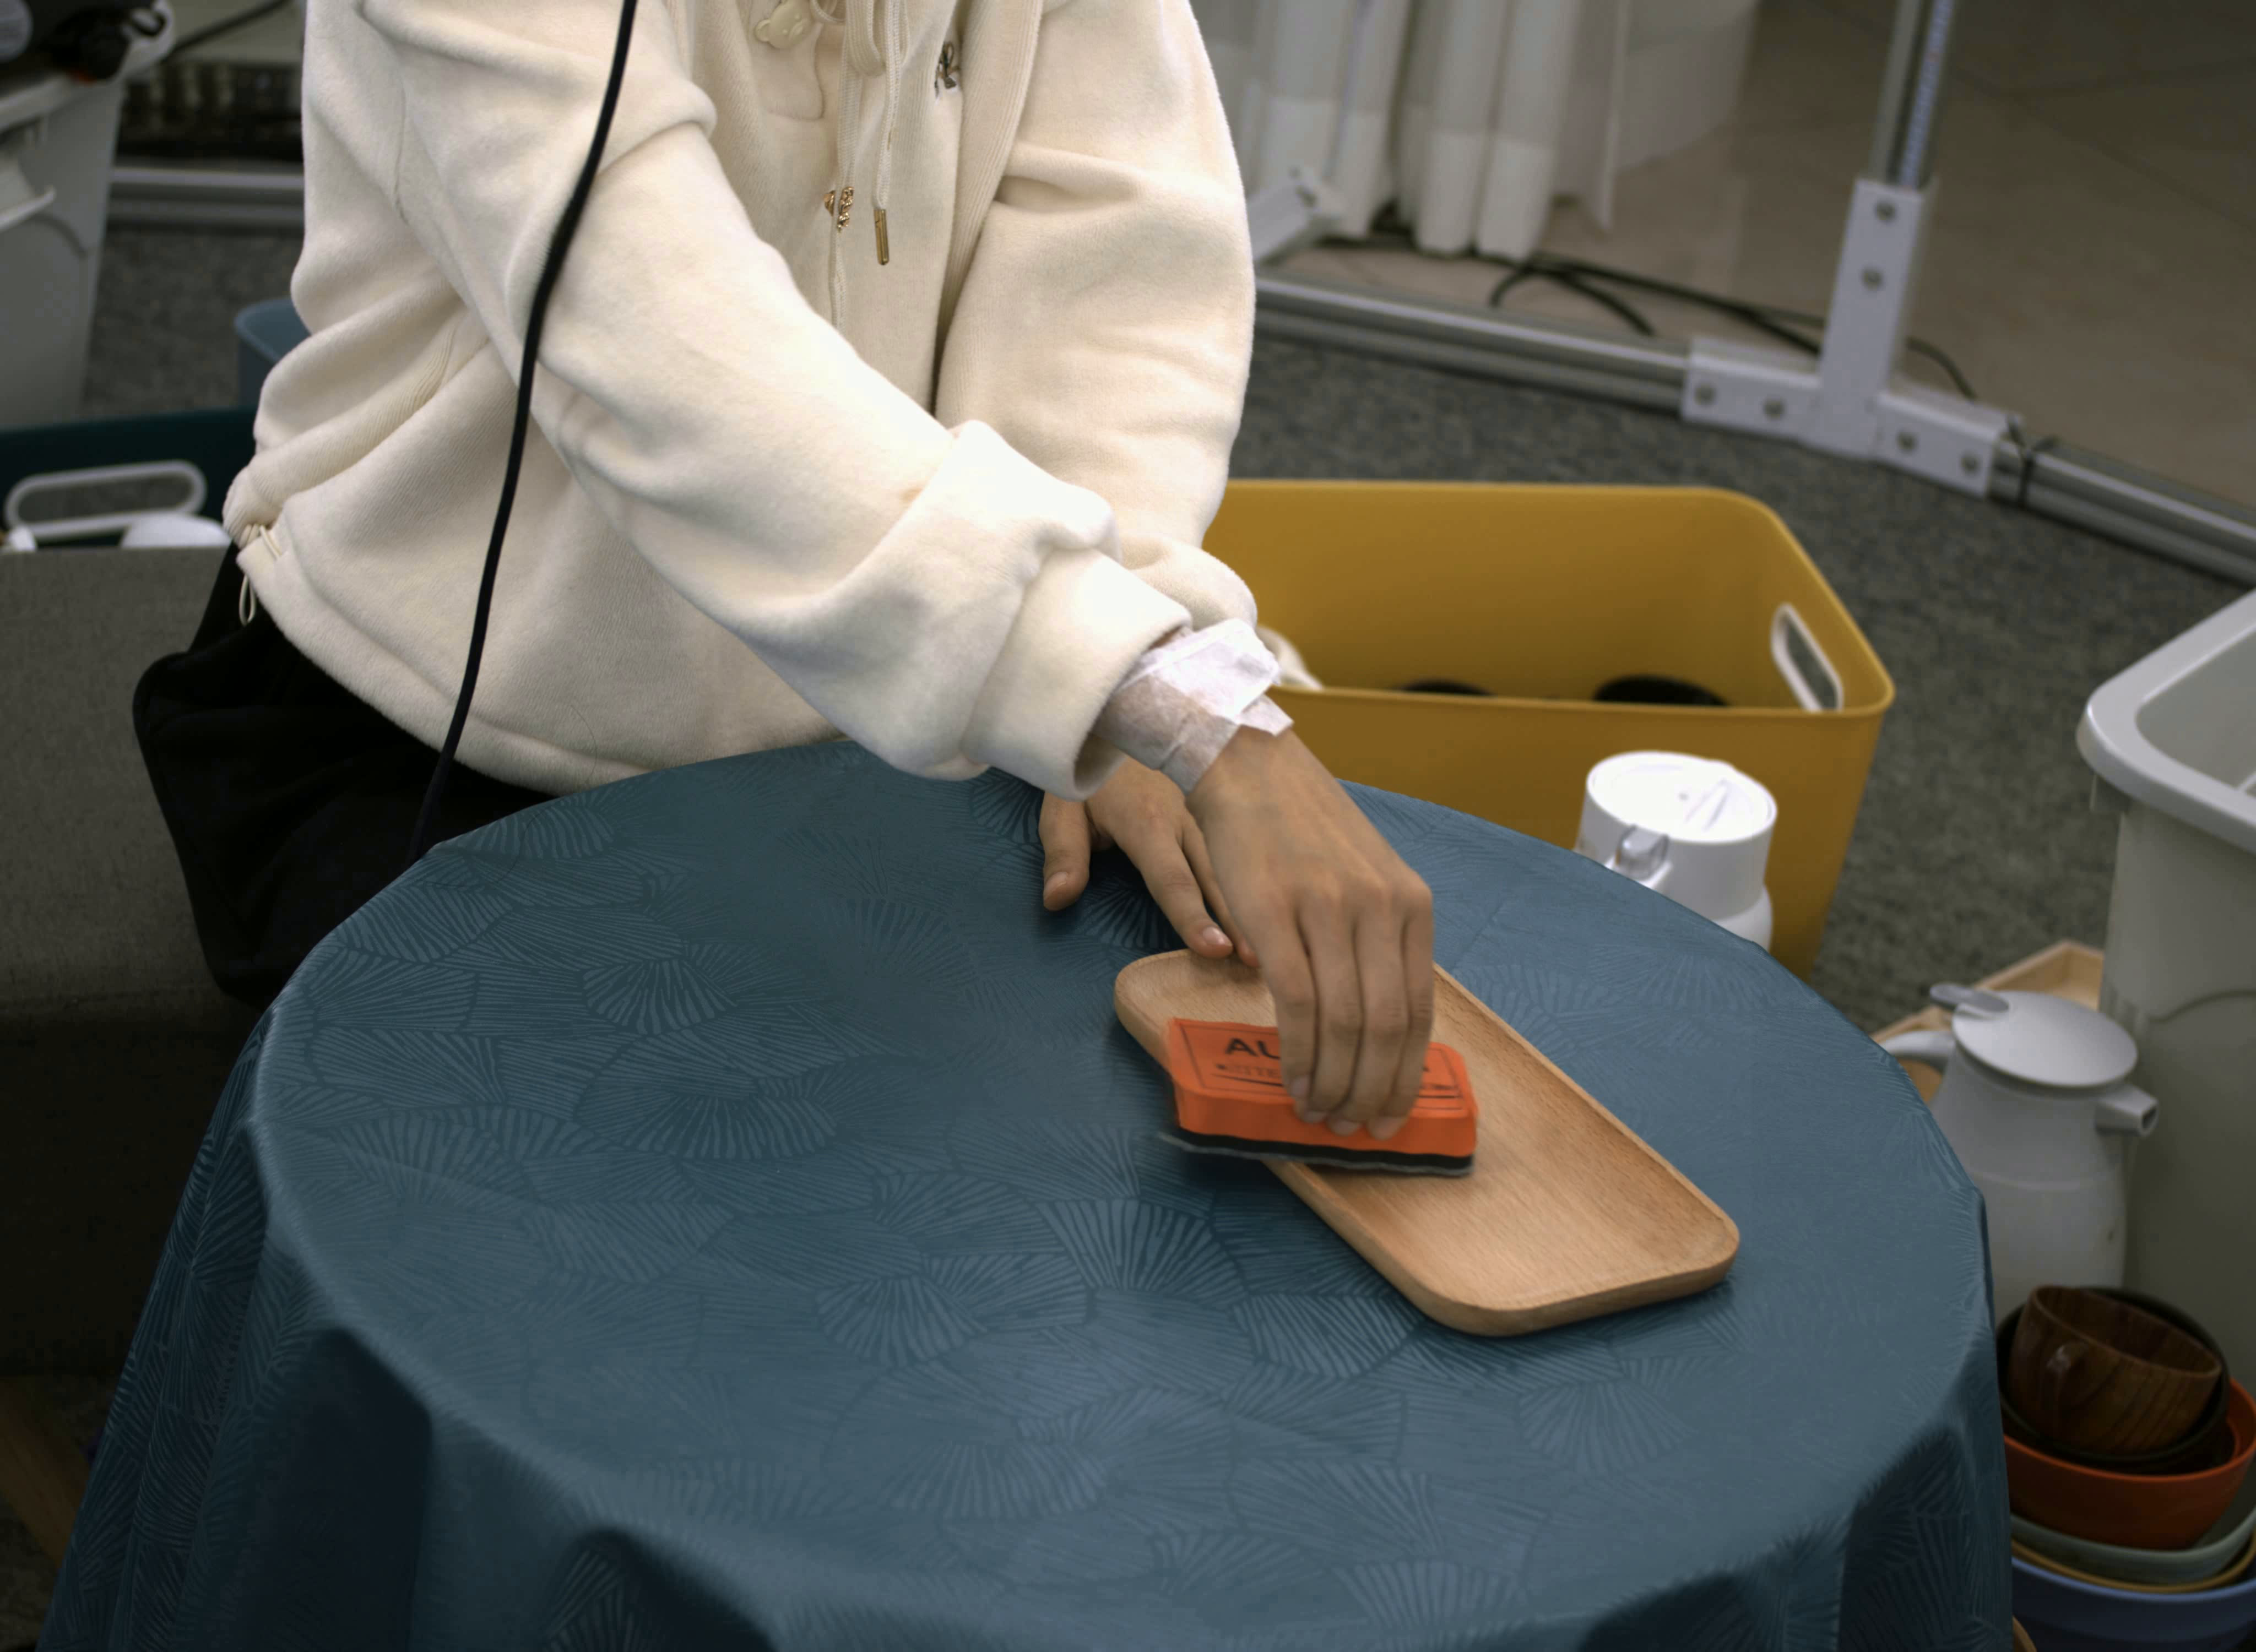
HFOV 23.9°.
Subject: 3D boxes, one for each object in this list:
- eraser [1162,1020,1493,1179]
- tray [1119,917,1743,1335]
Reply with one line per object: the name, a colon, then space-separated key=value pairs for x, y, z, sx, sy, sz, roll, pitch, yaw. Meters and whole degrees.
eraser: x=0.068 y=0.094 z=1.824 sx=0.107 sy=0.023 sz=0.059 roll=7 pitch=25 yaw=-11
tray: x=0.101 y=0.101 z=1.848 sx=0.129 sy=0.023 sz=0.253 roll=-6 pitch=29 yaw=-28
